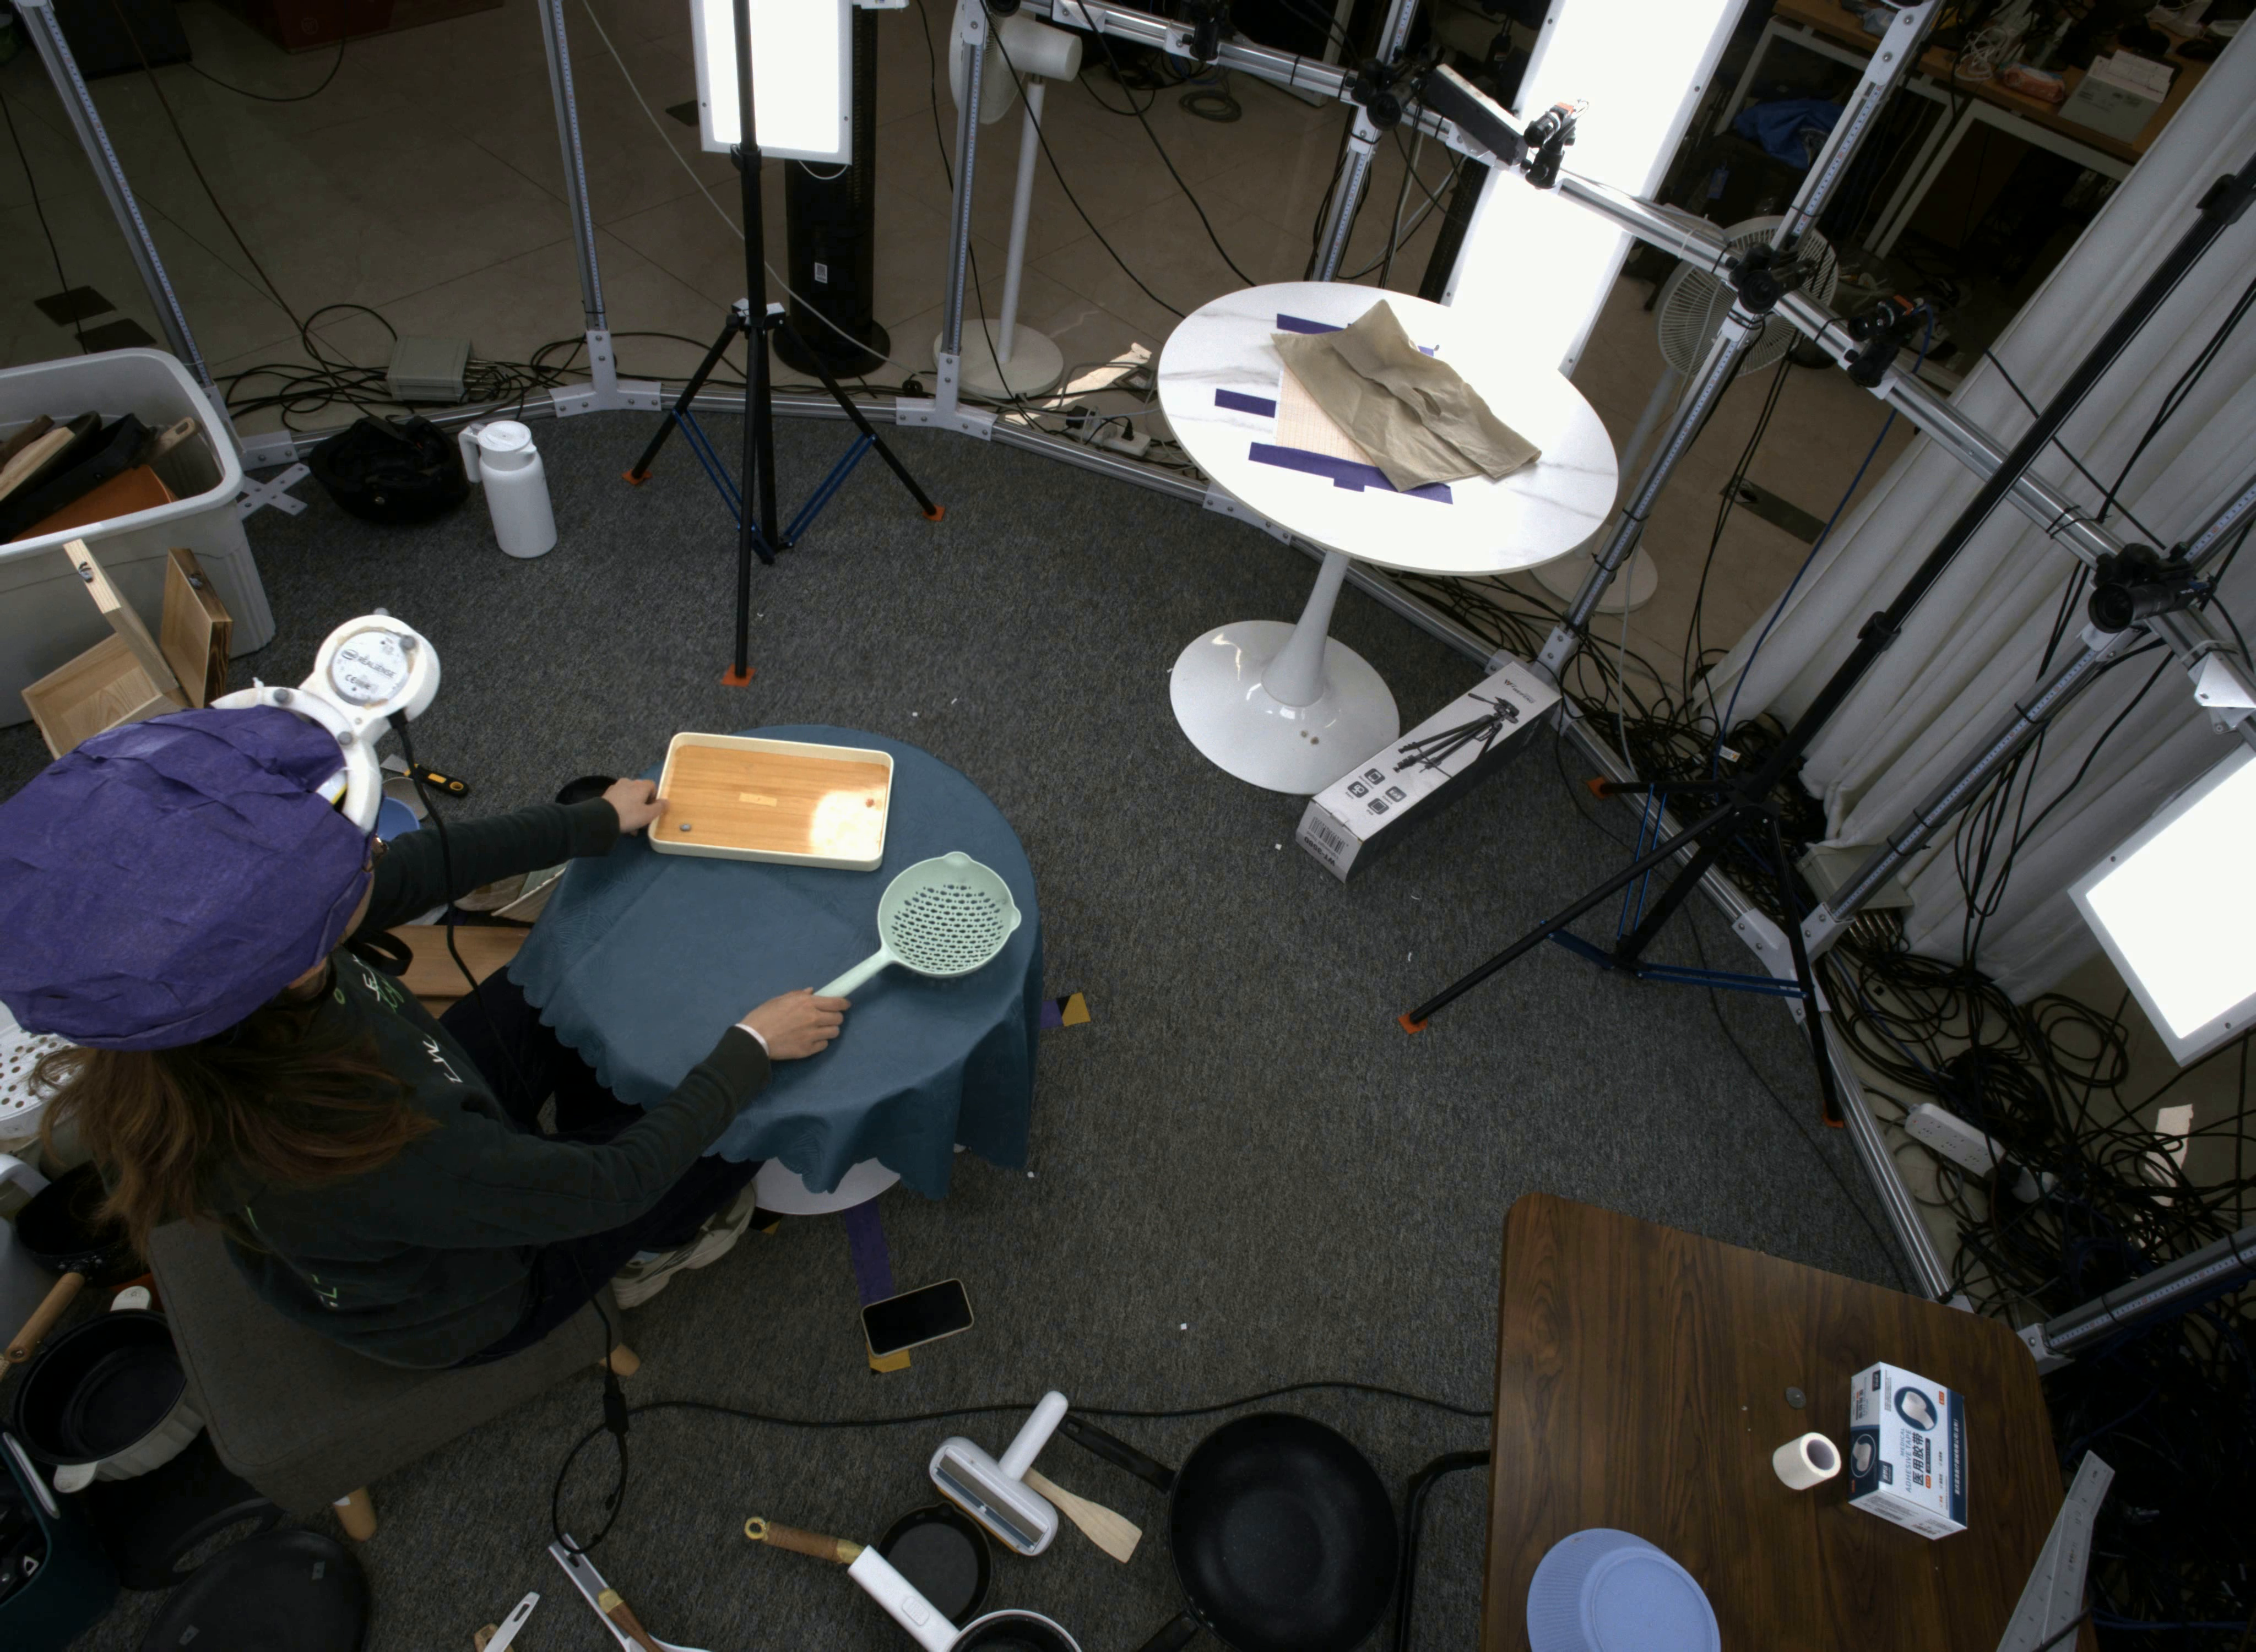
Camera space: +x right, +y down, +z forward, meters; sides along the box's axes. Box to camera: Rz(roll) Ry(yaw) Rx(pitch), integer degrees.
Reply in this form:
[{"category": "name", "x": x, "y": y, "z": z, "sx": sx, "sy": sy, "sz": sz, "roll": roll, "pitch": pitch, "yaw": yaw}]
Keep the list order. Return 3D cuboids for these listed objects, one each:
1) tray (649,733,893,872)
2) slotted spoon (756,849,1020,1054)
[{"category": "tray", "x": -0.471, "y": -0.033, "z": 1.725, "sx": 0.300, "sy": 0.028, "sz": 0.188, "roll": 6, "pitch": 53, "yaw": -10}, {"category": "slotted spoon", "x": -0.301, "y": 0.163, "z": 1.596, "sx": 0.360, "sy": 0.077, "sz": 0.165, "roll": -31, "pitch": 64, "yaw": -32}]
